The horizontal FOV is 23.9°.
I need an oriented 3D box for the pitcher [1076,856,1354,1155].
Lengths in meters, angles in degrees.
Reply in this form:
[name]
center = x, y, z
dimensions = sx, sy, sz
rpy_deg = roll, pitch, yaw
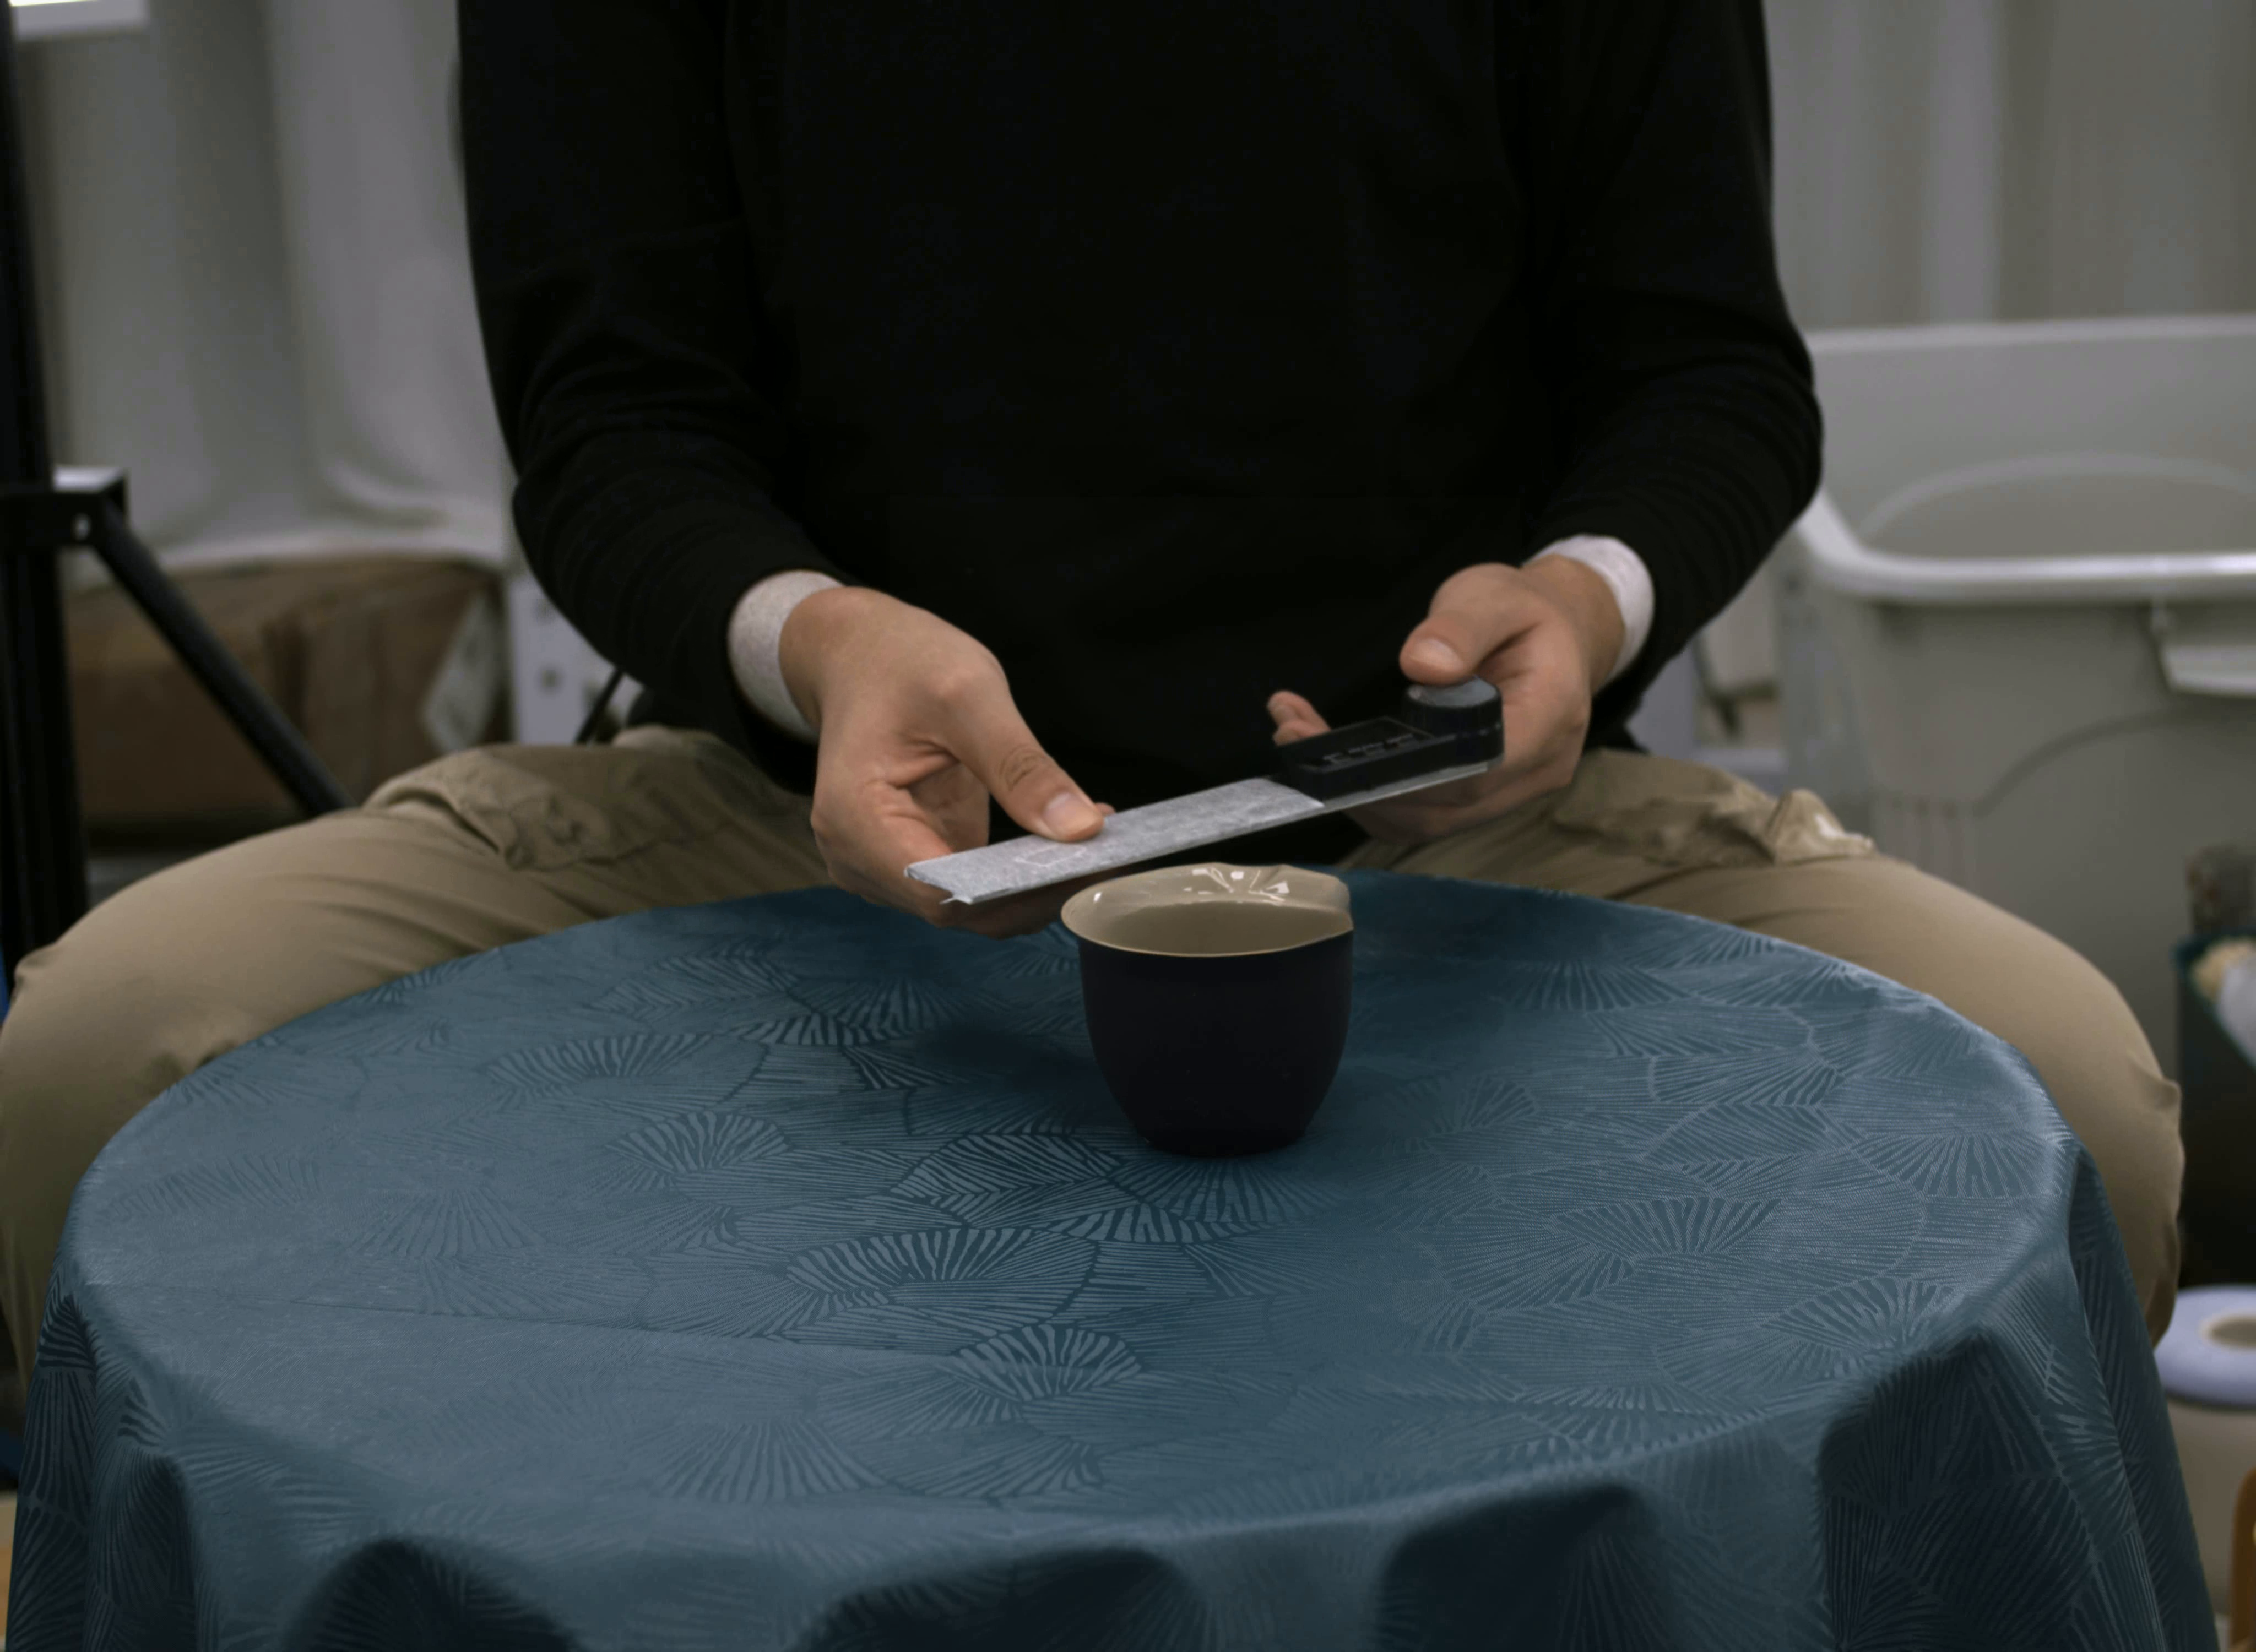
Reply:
[pitcher]
center = 0.029, 0.056, 1.601
dimensions = 0.084, 0.071, 0.095
rpy_deg = 1, 17, 16

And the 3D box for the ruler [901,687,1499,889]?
[ruler]
center = 0.028, -0.013, 1.661
dimensions = 0.213, 0.024, 0.039
rpy_deg = -13, 15, -32
